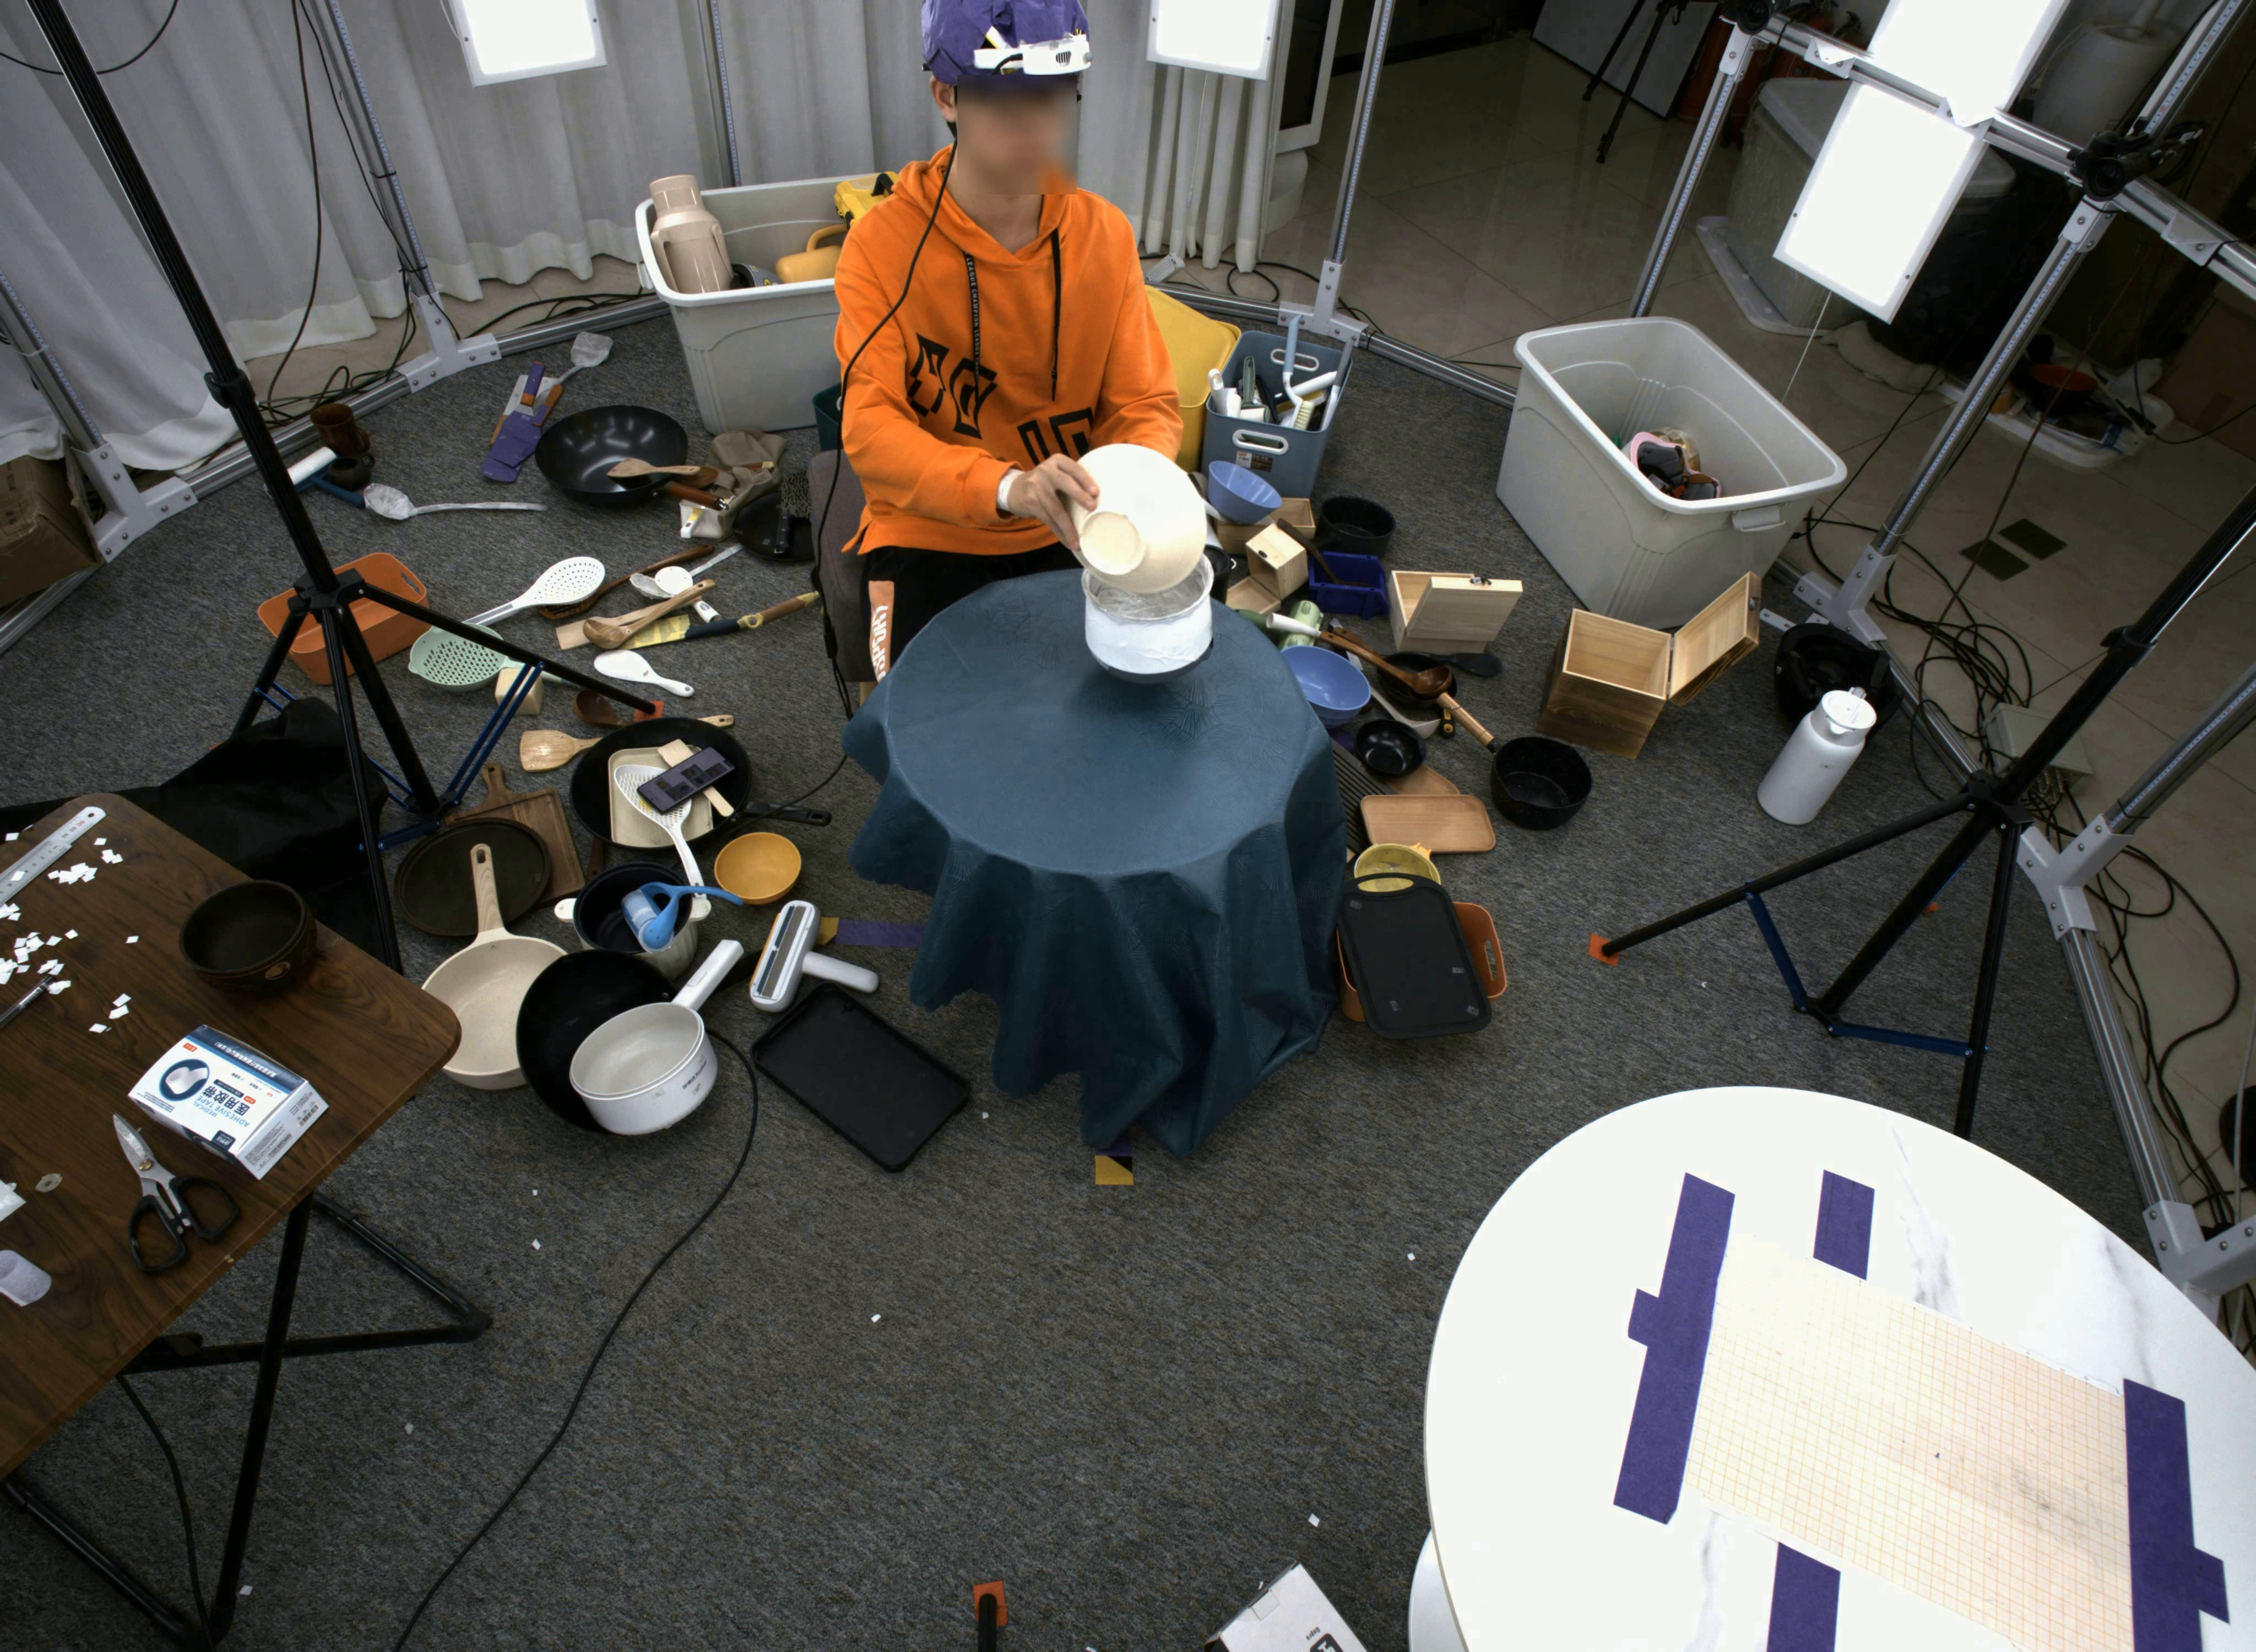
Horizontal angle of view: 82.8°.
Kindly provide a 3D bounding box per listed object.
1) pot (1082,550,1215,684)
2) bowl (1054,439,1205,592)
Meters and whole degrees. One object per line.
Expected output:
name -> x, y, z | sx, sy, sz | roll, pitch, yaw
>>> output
pot -> 0.032, -0.314, 1.778 | 0.179, 0.133, 0.239 | 3, 50, 5
bowl -> -0.010, -0.373, 1.618 | 0.205, 0.199, 0.079 | 18, 39, 11
